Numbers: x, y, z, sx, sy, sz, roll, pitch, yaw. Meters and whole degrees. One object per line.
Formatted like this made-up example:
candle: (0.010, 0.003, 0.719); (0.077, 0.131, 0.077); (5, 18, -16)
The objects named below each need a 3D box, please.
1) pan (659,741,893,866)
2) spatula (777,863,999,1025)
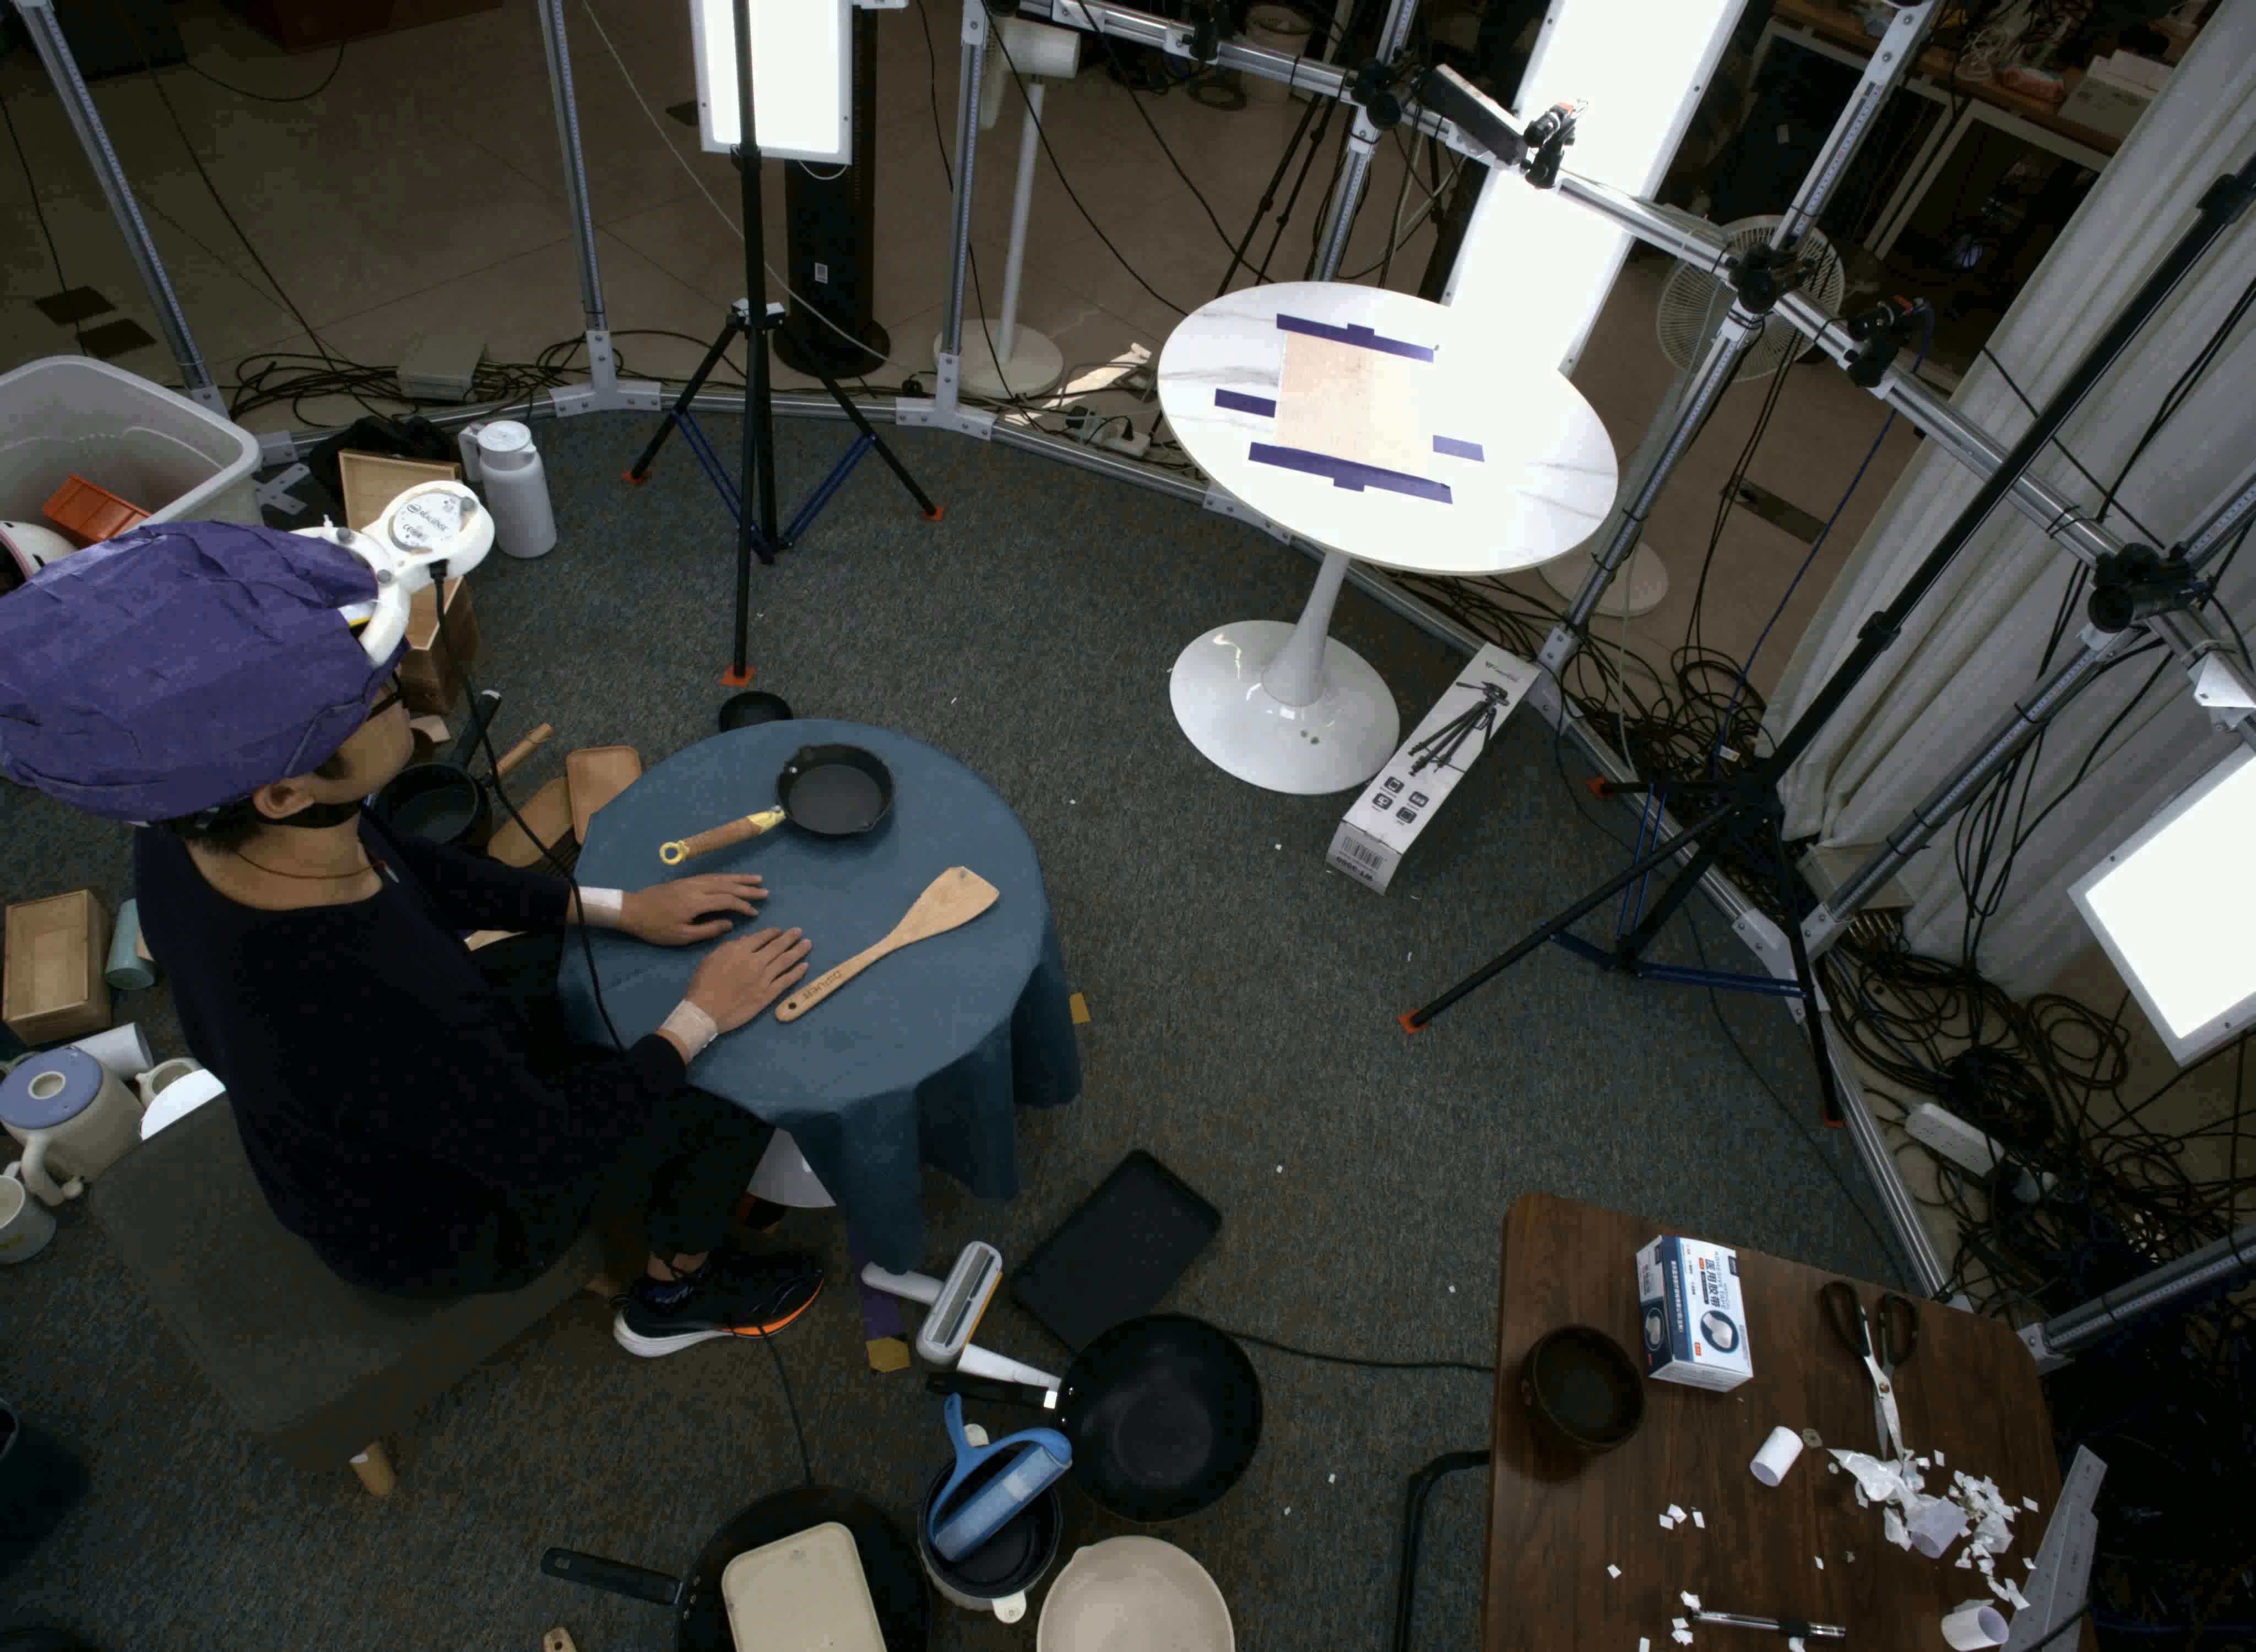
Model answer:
pan: (-0.458, -0.016, 1.684); (0.326, 0.050, 0.165); (-26, 64, -31)
spatula: (-0.304, 0.146, 1.626); (0.078, 0.017, 0.328); (42, 55, 18)
